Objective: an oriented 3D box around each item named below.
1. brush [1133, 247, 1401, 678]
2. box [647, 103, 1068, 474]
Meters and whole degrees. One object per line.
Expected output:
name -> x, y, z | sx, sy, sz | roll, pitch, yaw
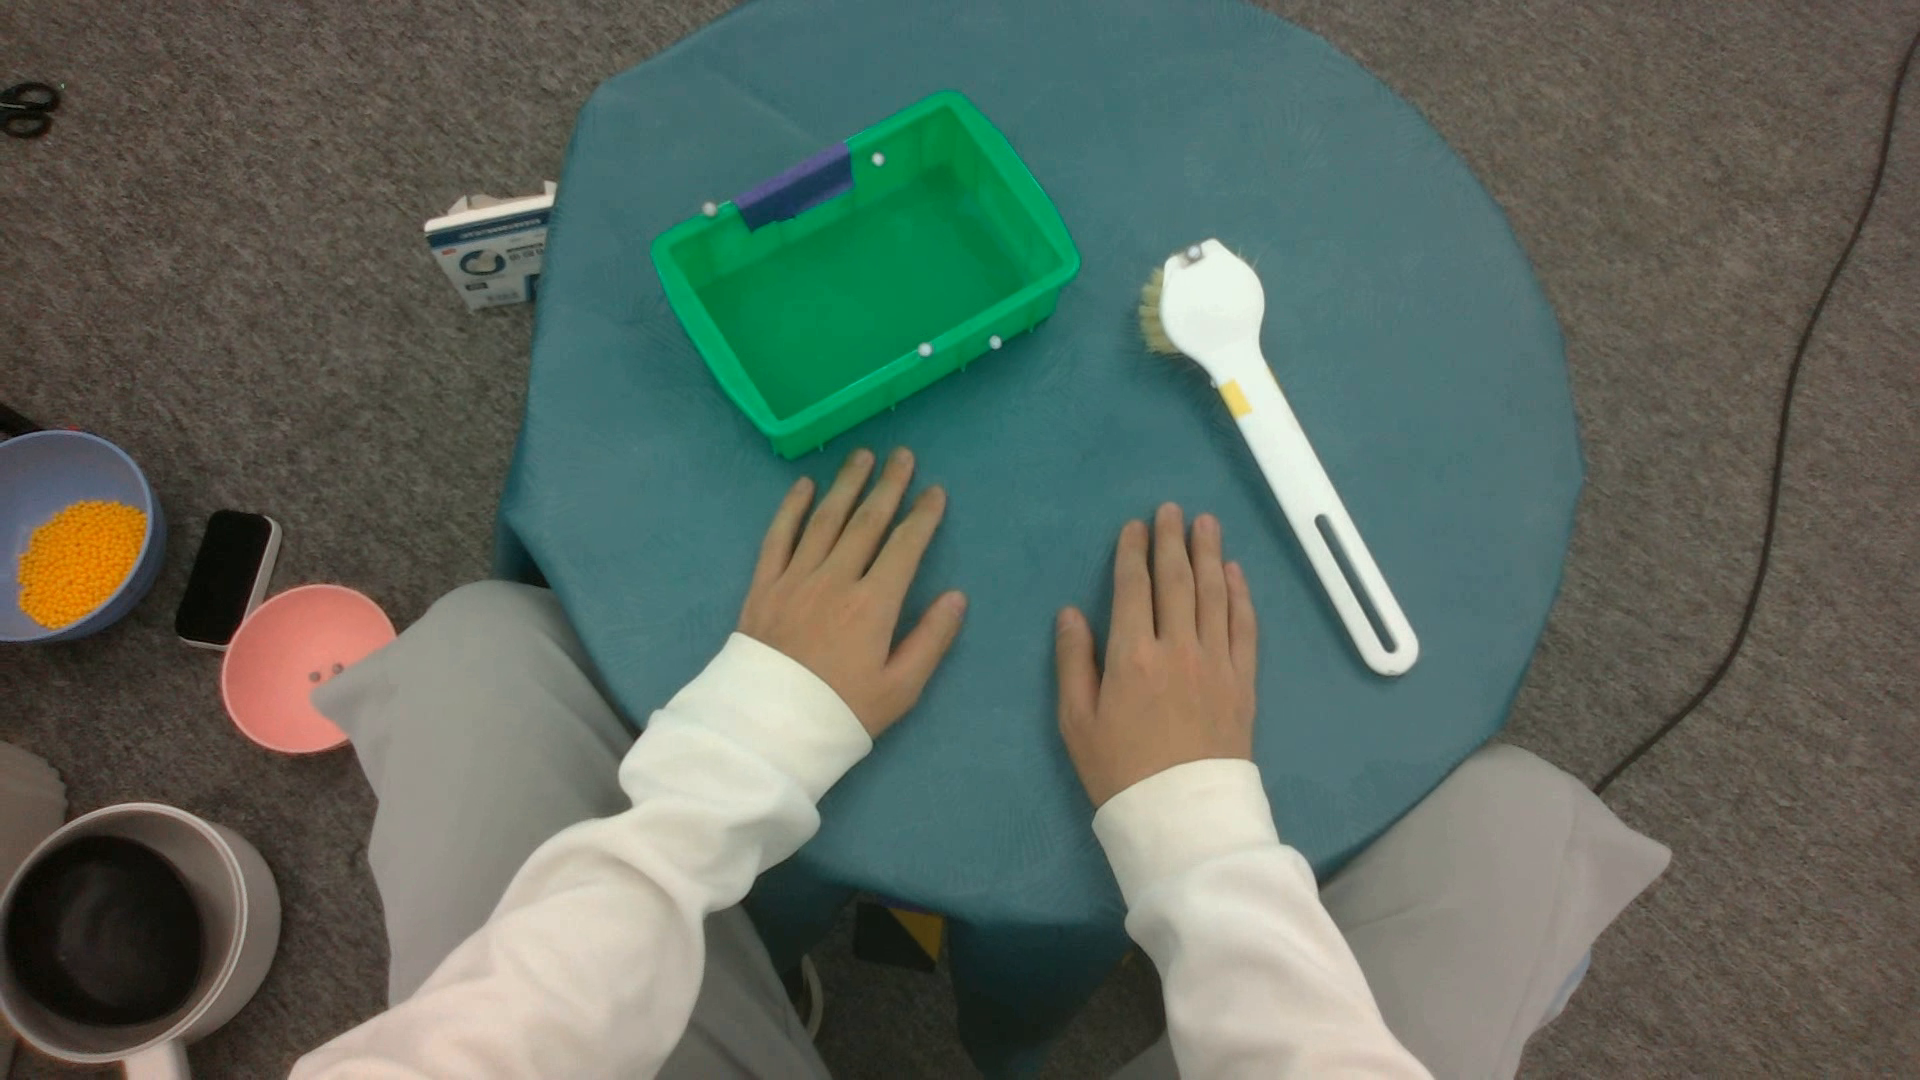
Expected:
brush -> 0.178, -0.045, 0.786 | 0.068, 0.056, 0.266 | -28, 89, 14
box -> -0.056, -0.139, 0.785 | 0.211, 0.065, 0.139 | -34, 75, -9
